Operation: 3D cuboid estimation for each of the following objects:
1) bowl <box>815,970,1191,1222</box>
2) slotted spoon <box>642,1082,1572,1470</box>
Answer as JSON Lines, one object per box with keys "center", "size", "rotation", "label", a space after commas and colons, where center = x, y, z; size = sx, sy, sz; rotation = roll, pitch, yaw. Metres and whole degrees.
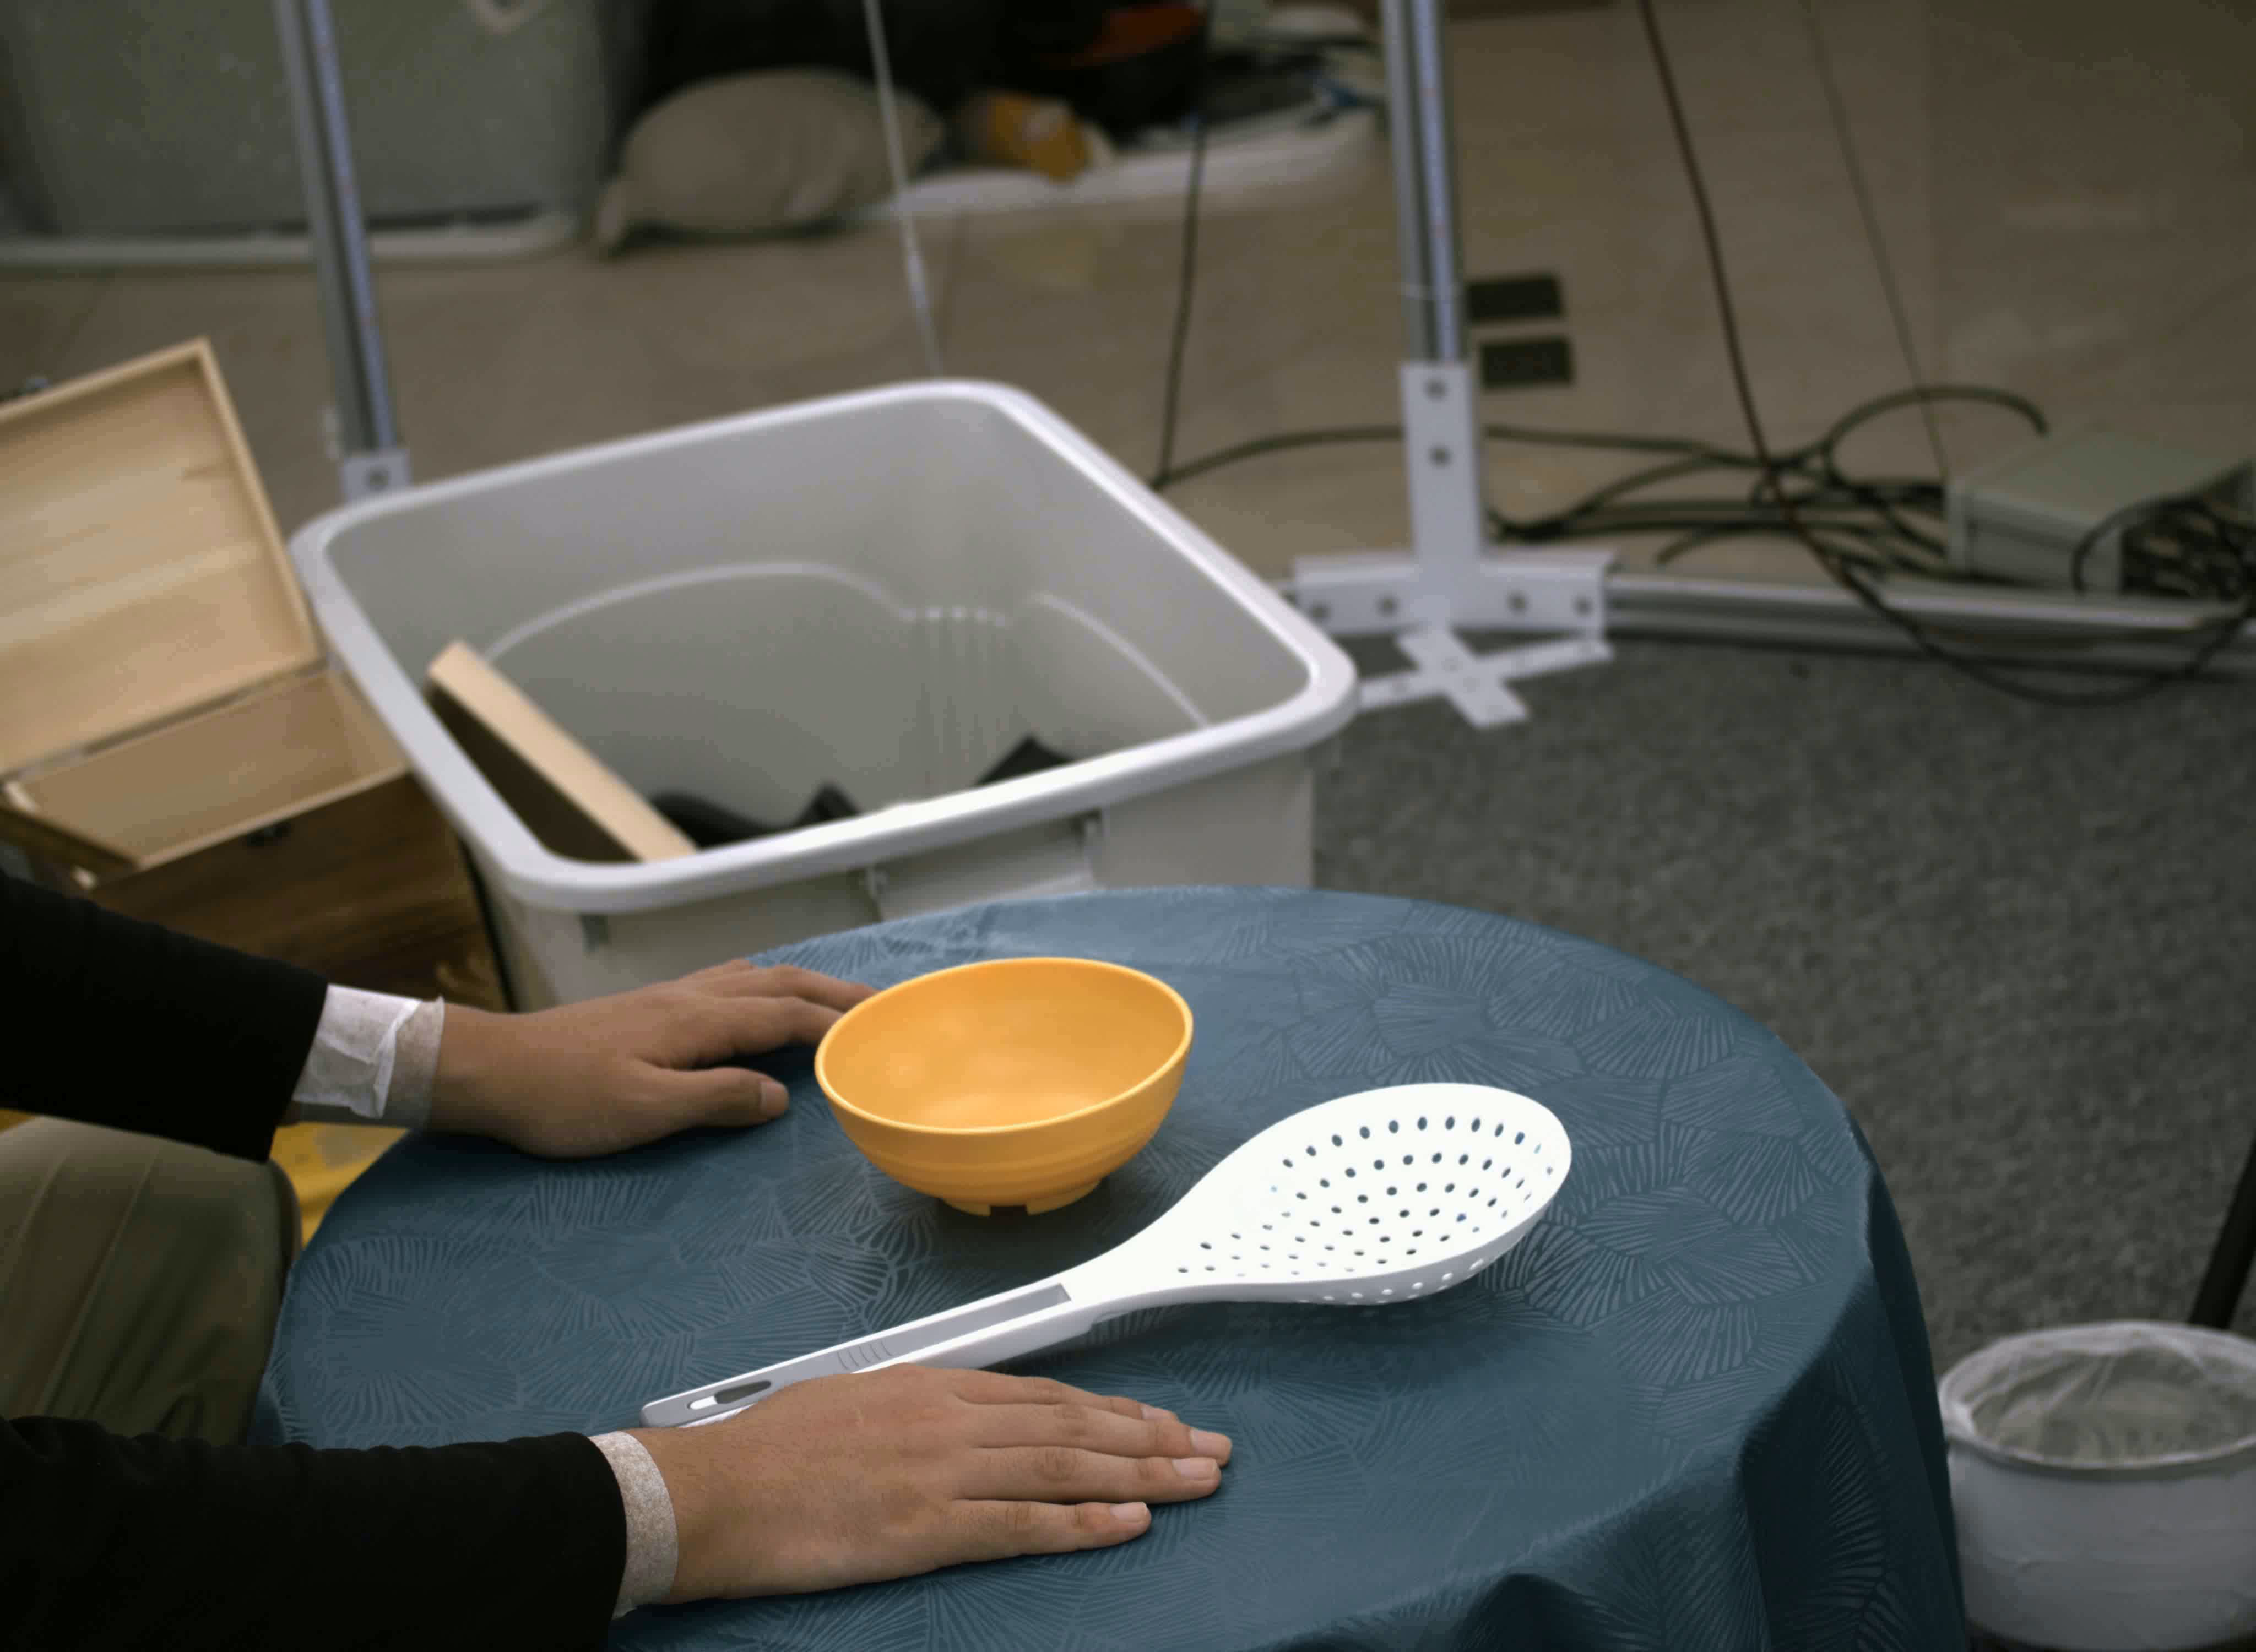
{"center": [-0.044, 0.110, 2.155], "size": [0.145, 0.061, 0.143], "rotation": [-5, 23, 2], "label": "bowl"}
{"center": [-0.006, 0.166, 2.036], "size": [0.348, 0.046, 0.134], "rotation": [-14, 25, -13], "label": "slotted spoon"}
